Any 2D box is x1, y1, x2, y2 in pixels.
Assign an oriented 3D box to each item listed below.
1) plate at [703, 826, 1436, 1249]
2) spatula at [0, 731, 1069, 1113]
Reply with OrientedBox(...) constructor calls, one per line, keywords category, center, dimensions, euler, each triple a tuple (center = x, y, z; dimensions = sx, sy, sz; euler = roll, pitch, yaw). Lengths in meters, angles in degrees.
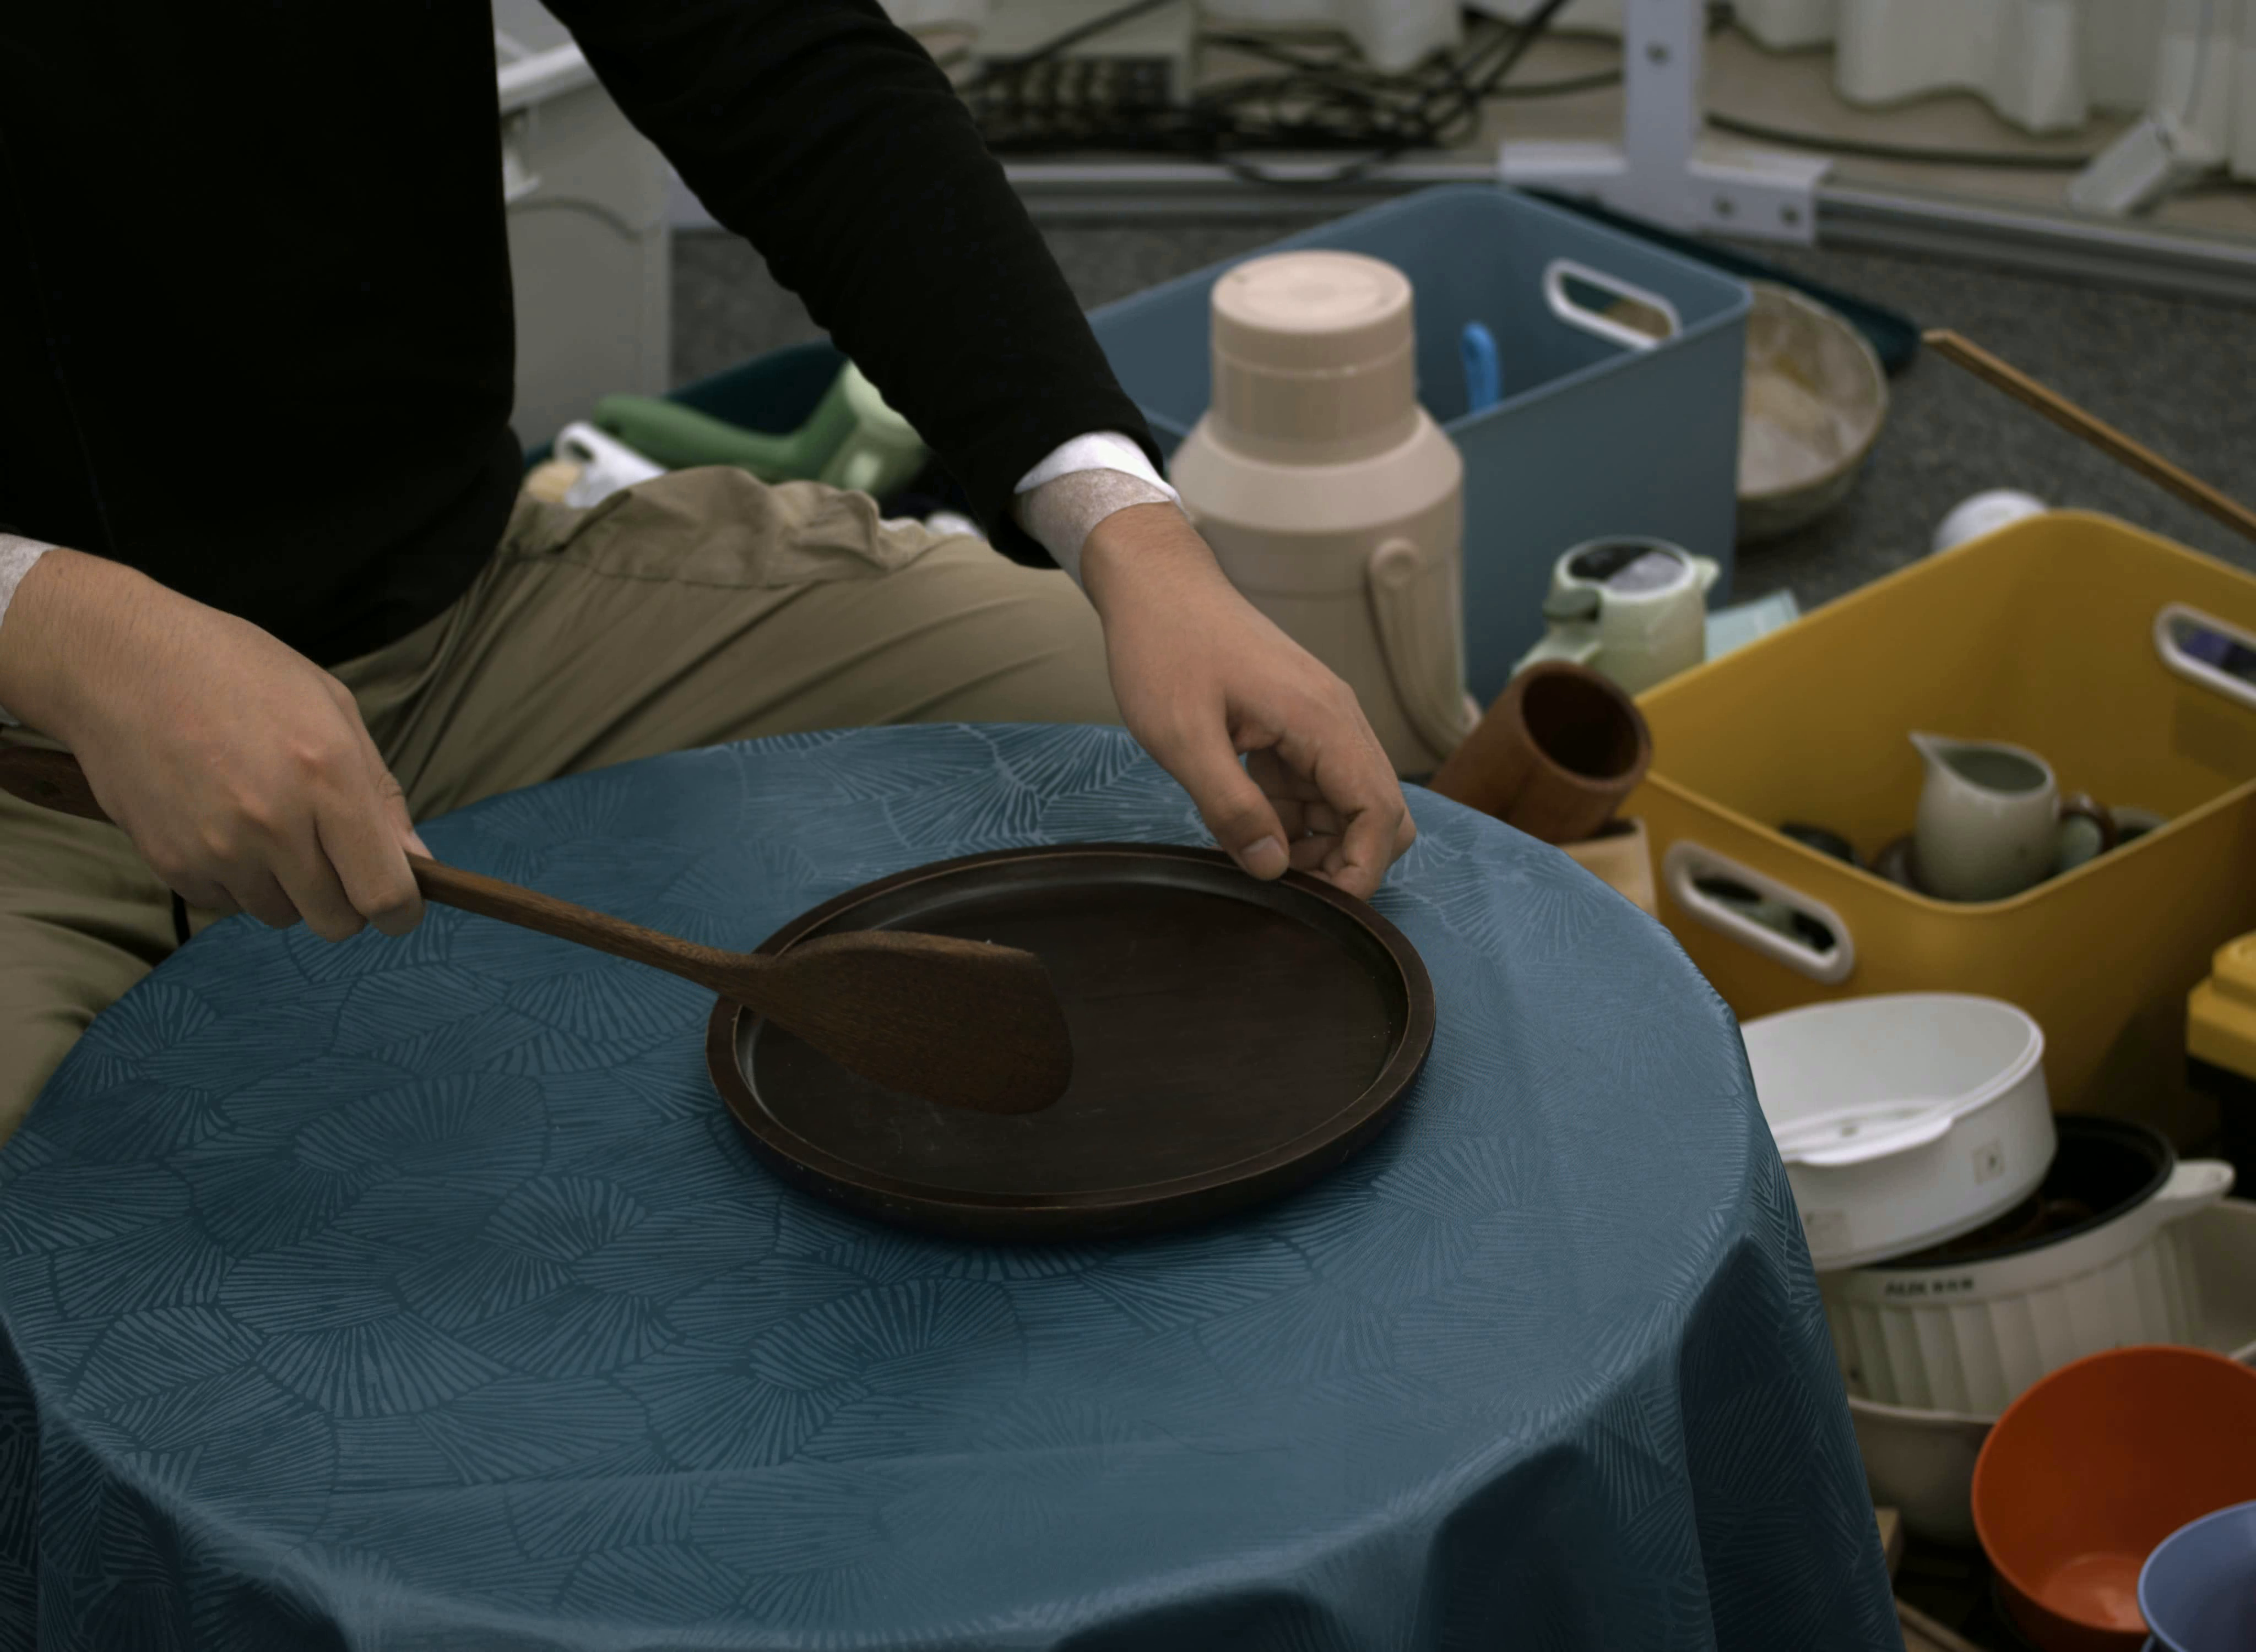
OrientedBox(category="plate", center=(-0.020, 0.074, 1.930), dimensions=(0.253, 0.029, 0.259), euler=(-3, 28, 2))
OrientedBox(category="spatula", center=(-0.201, 0.024, 1.843), dimensions=(0.384, 0.094, 0.016), euler=(15, 54, 13))
